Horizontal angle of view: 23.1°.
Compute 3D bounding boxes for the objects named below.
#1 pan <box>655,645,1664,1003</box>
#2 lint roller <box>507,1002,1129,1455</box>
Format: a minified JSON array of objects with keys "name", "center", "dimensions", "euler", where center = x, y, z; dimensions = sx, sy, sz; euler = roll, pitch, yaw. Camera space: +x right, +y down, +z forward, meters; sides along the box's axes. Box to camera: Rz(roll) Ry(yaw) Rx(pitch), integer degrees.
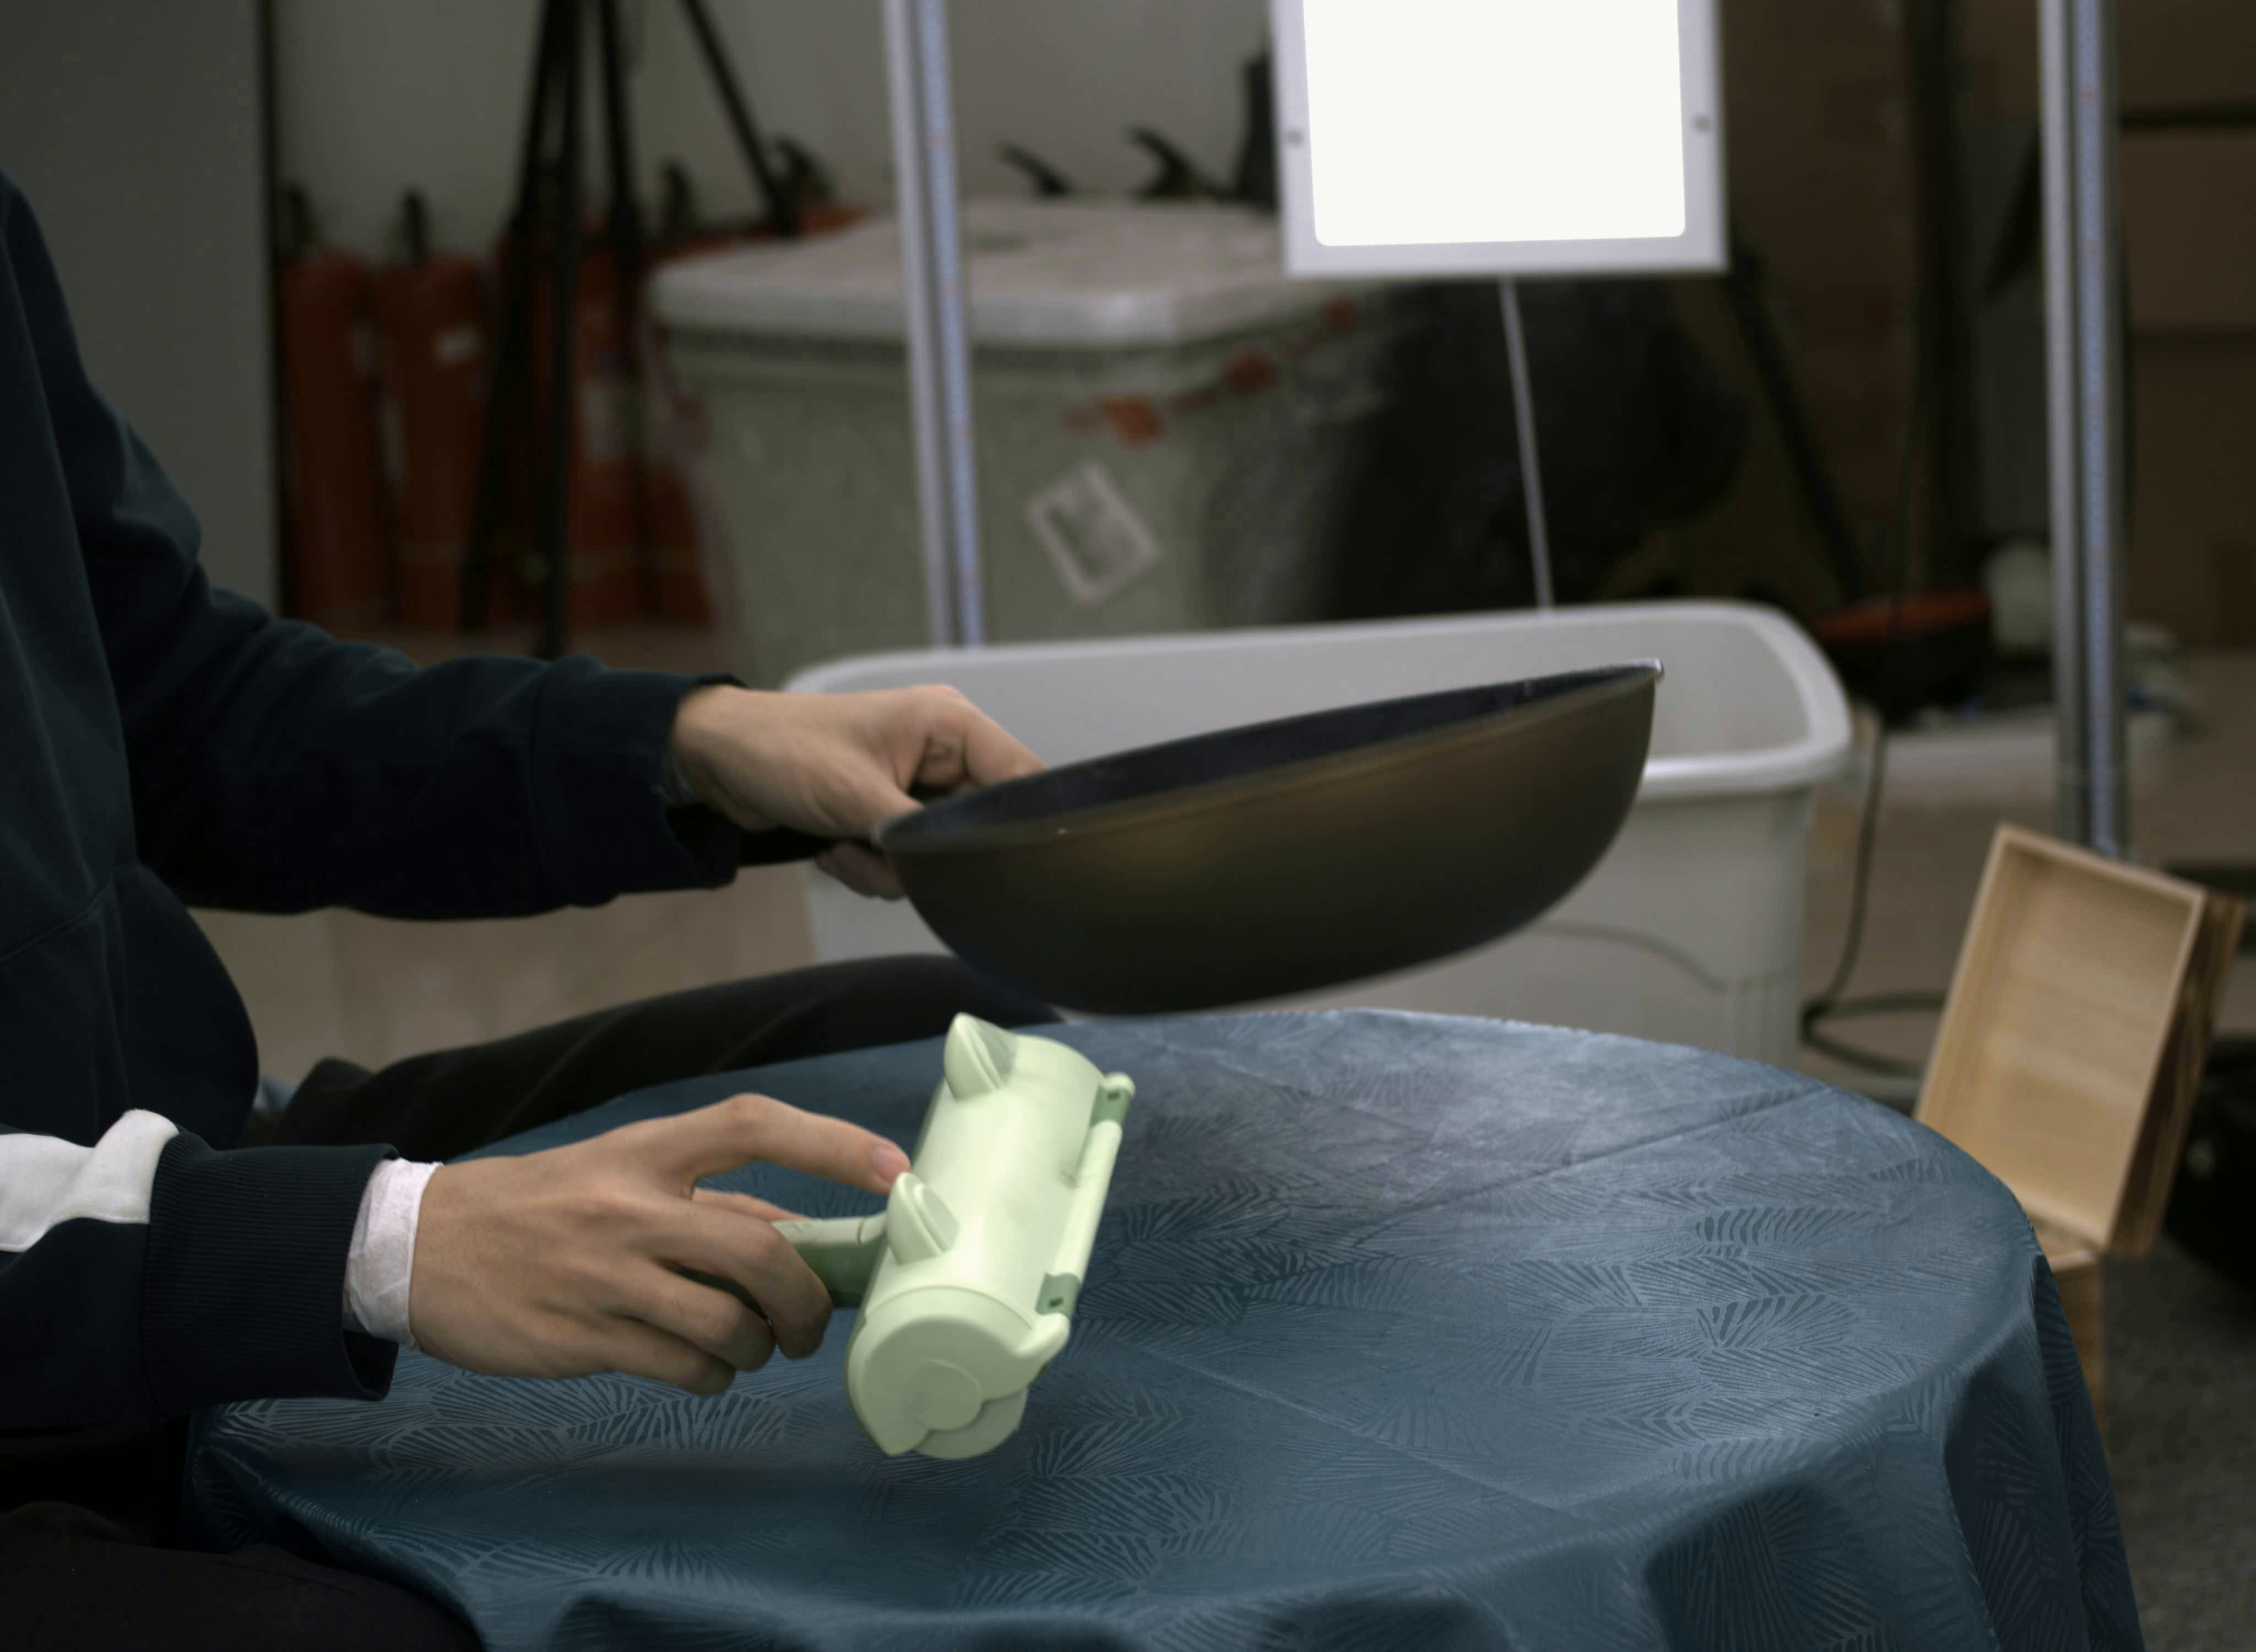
[{"name":"pan","center":[-0.011,0.017,1.949],"dimensions":[0.281,0.087,0.474],"euler":[-13,2,-45]},{"name":"lint roller","center":[-0.099,0.115,1.646],"dimensions":[0.184,0.082,0.197],"euler":[-2,22,9]}]
